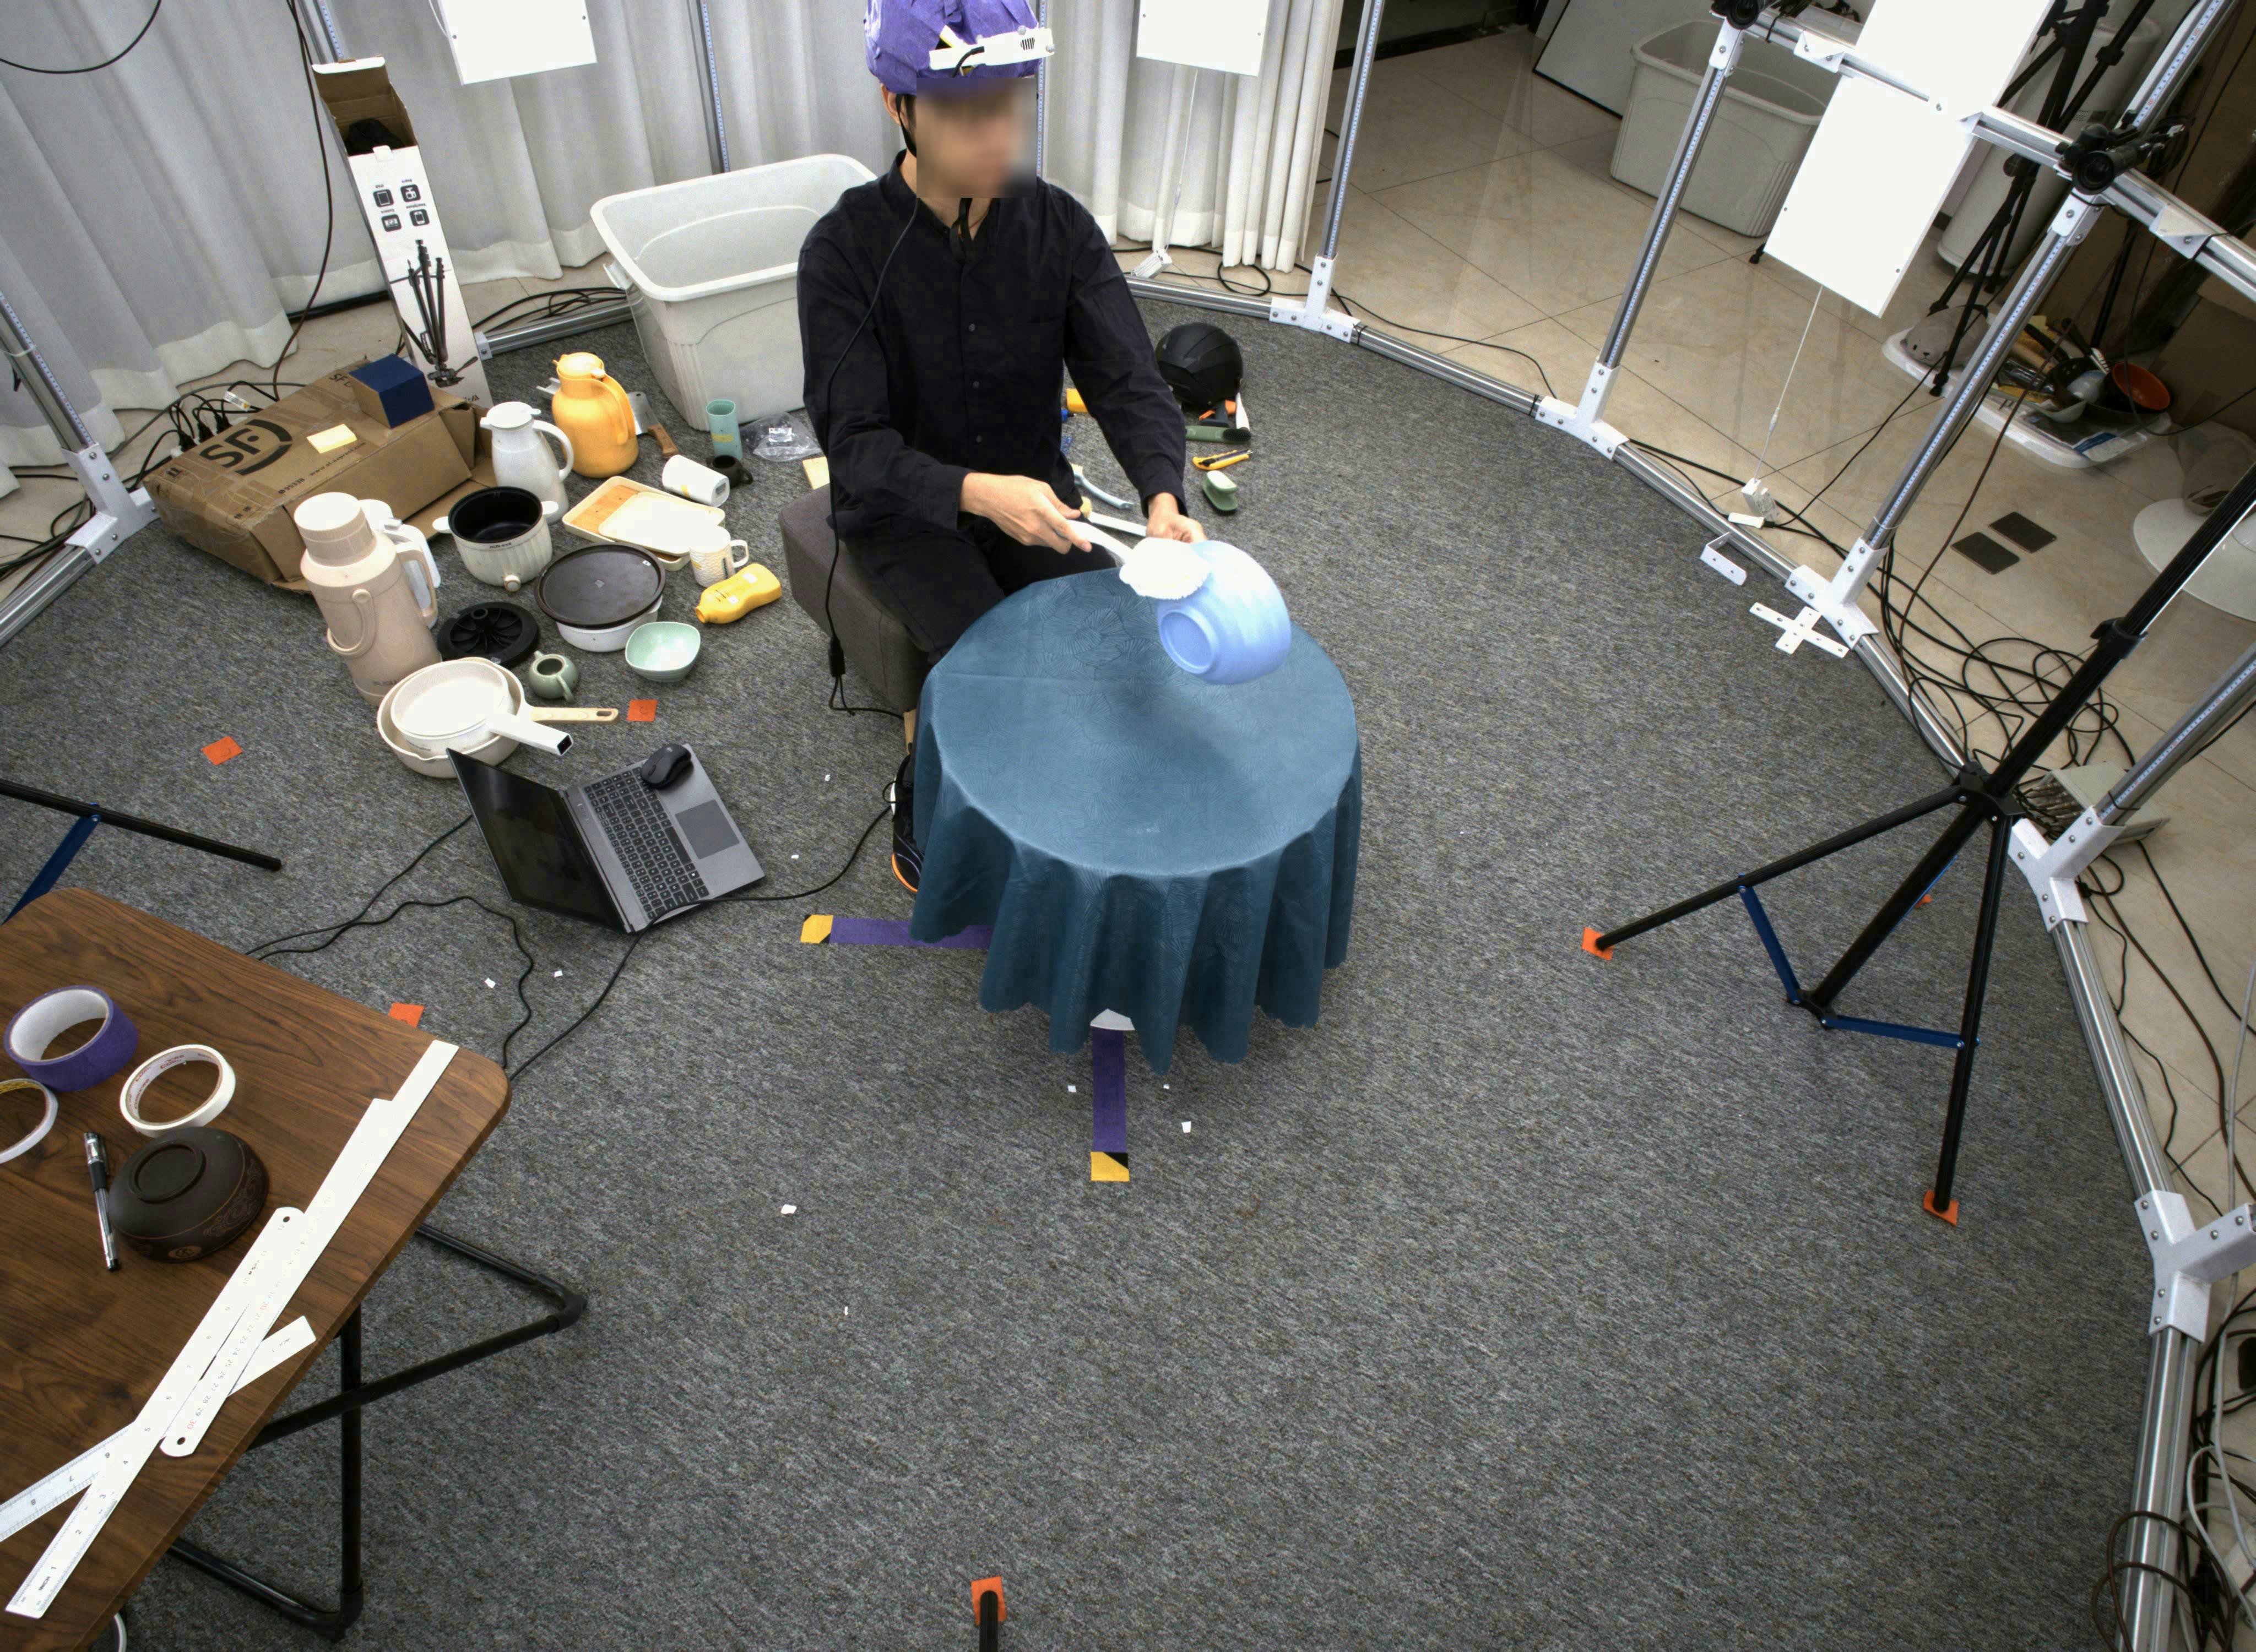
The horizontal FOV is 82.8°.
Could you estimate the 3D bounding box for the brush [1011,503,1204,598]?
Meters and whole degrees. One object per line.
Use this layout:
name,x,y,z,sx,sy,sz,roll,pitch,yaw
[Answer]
brush,-0.024,-0.360,1.679,0.330,0.083,0.083,25,40,39

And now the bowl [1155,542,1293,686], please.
bowl,0.106,-0.257,1.657,0.199,0.192,0.096,36,56,23
